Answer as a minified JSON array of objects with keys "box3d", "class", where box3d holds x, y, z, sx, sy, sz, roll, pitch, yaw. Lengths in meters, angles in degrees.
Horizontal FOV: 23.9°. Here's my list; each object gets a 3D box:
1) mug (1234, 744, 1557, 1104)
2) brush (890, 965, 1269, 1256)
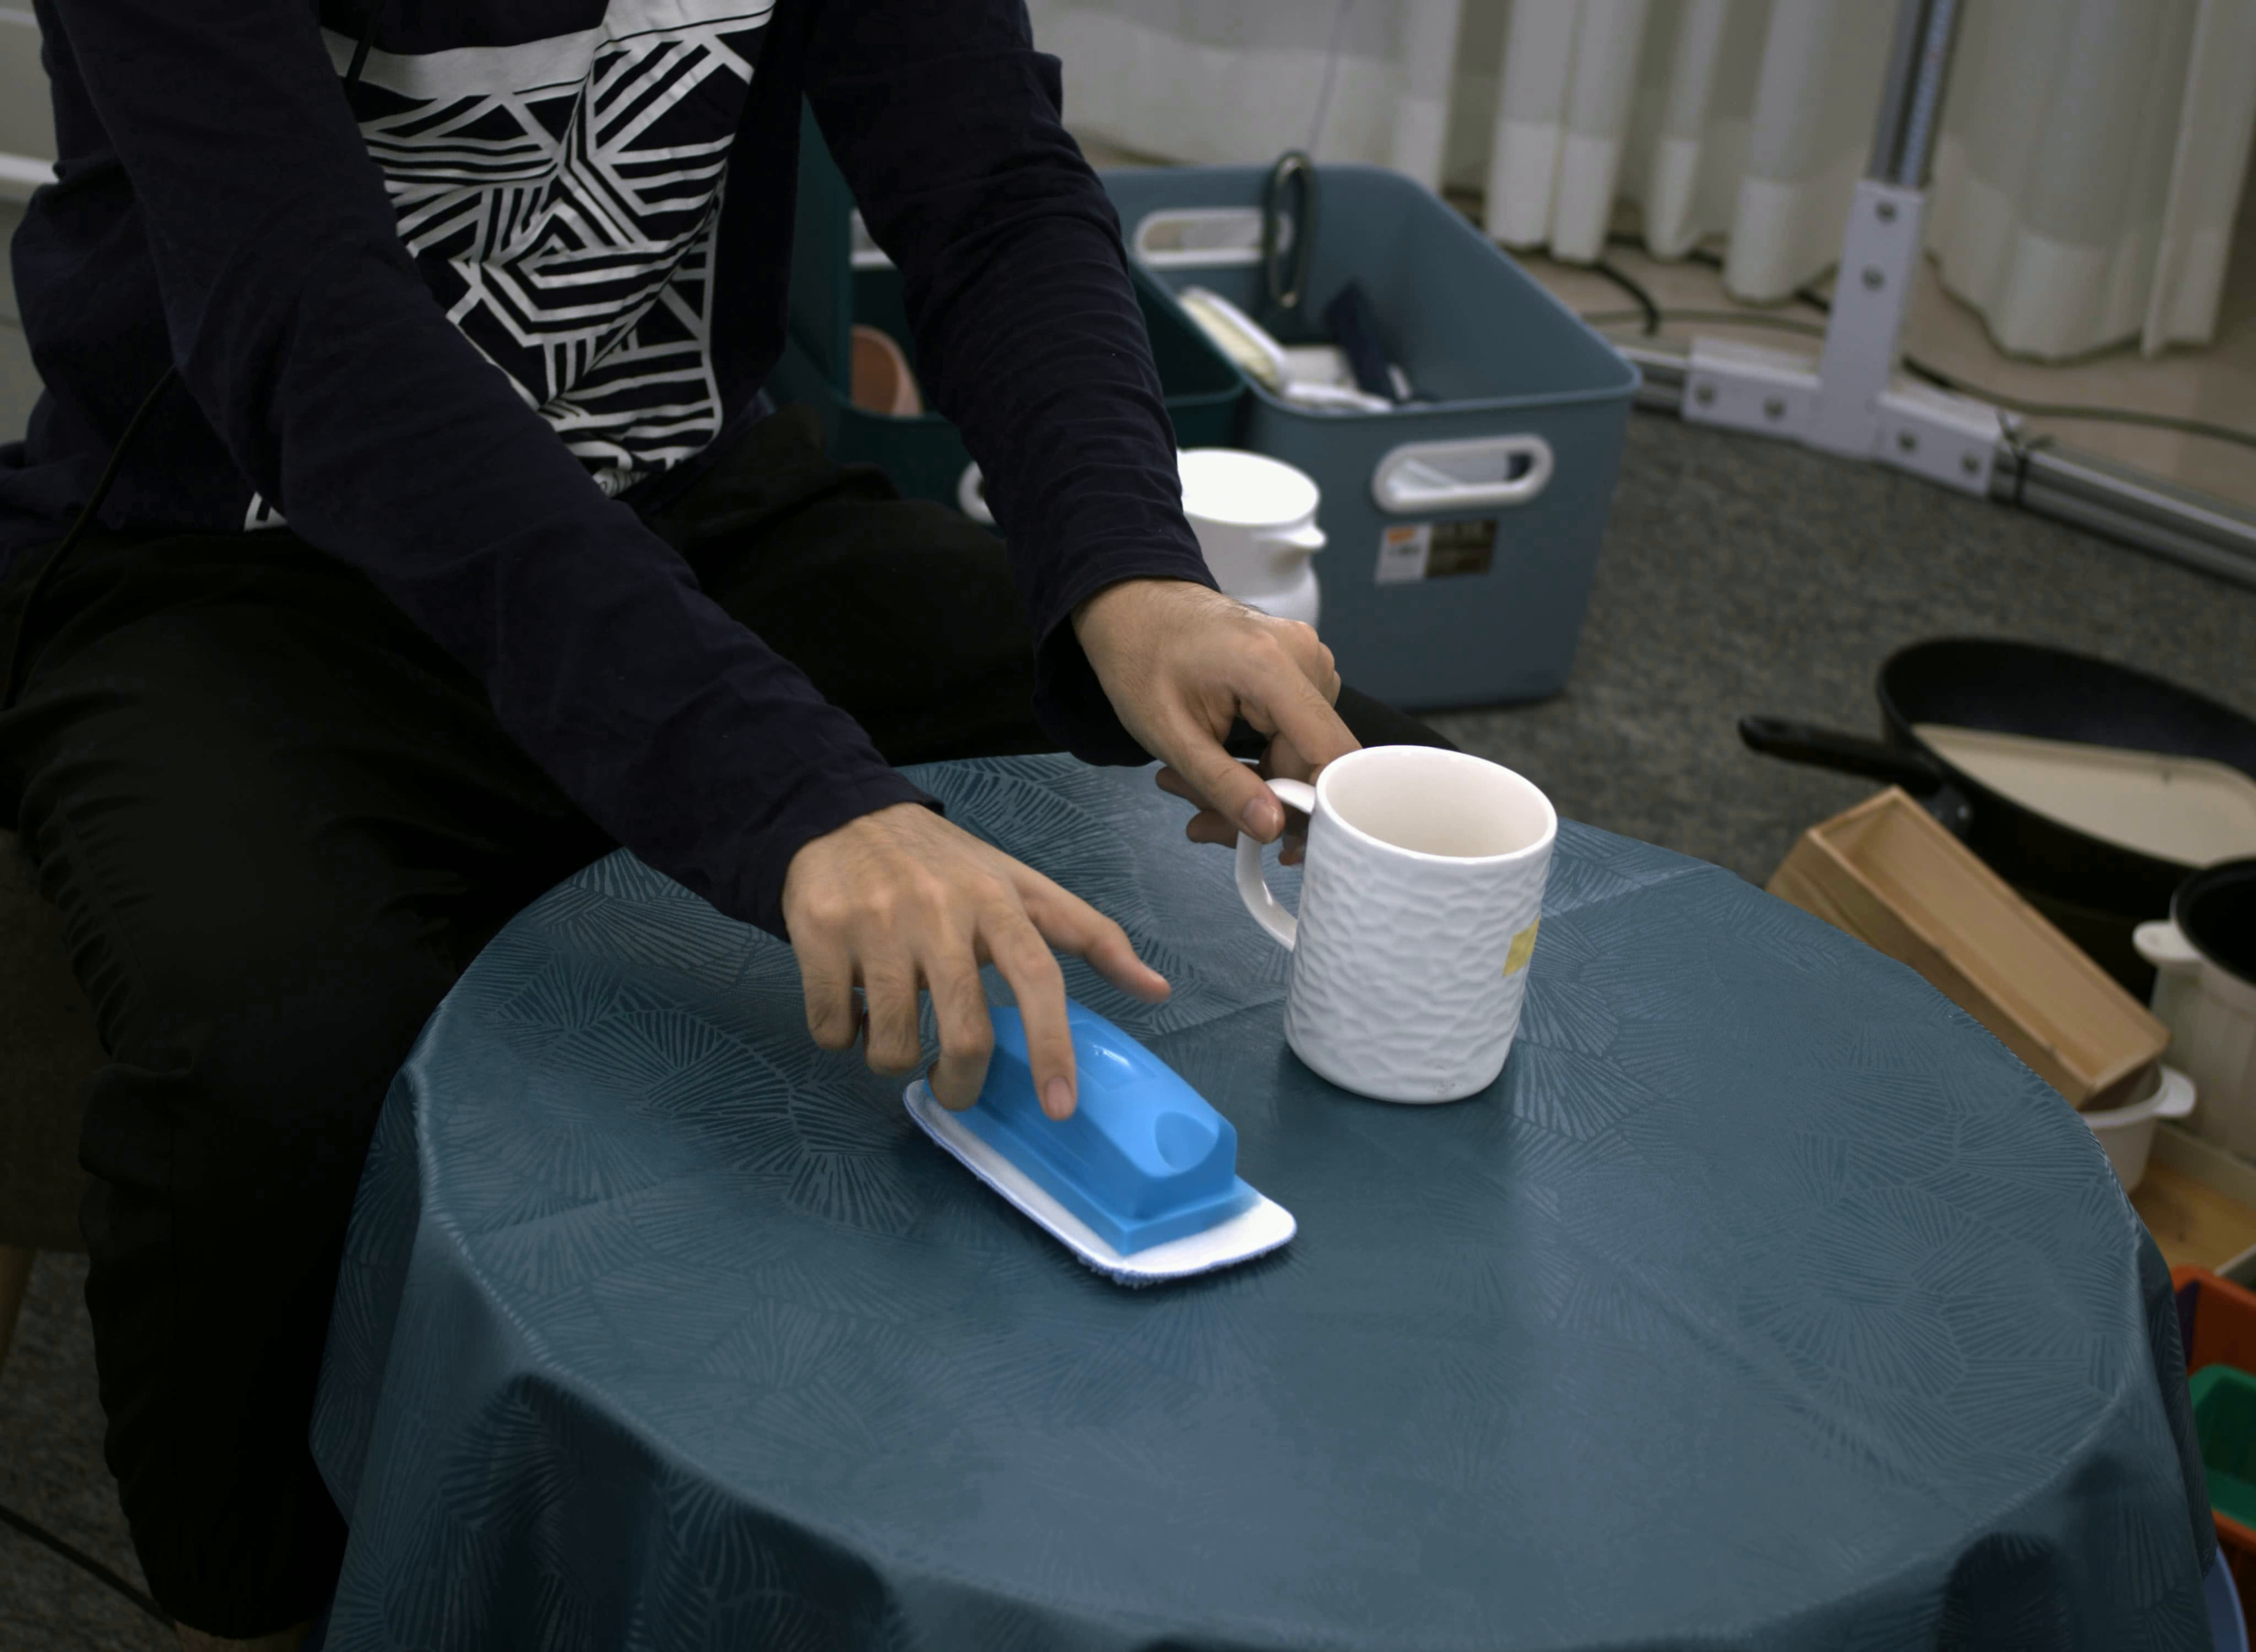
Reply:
[{"box3d":[0.089,0.030,1.894,0.119,0.101,0.085,22,32,26],"class":"mug"},{"box3d":[-0.014,0.092,1.799,0.083,0.056,0.145,-8,33,-33],"class":"brush"}]
